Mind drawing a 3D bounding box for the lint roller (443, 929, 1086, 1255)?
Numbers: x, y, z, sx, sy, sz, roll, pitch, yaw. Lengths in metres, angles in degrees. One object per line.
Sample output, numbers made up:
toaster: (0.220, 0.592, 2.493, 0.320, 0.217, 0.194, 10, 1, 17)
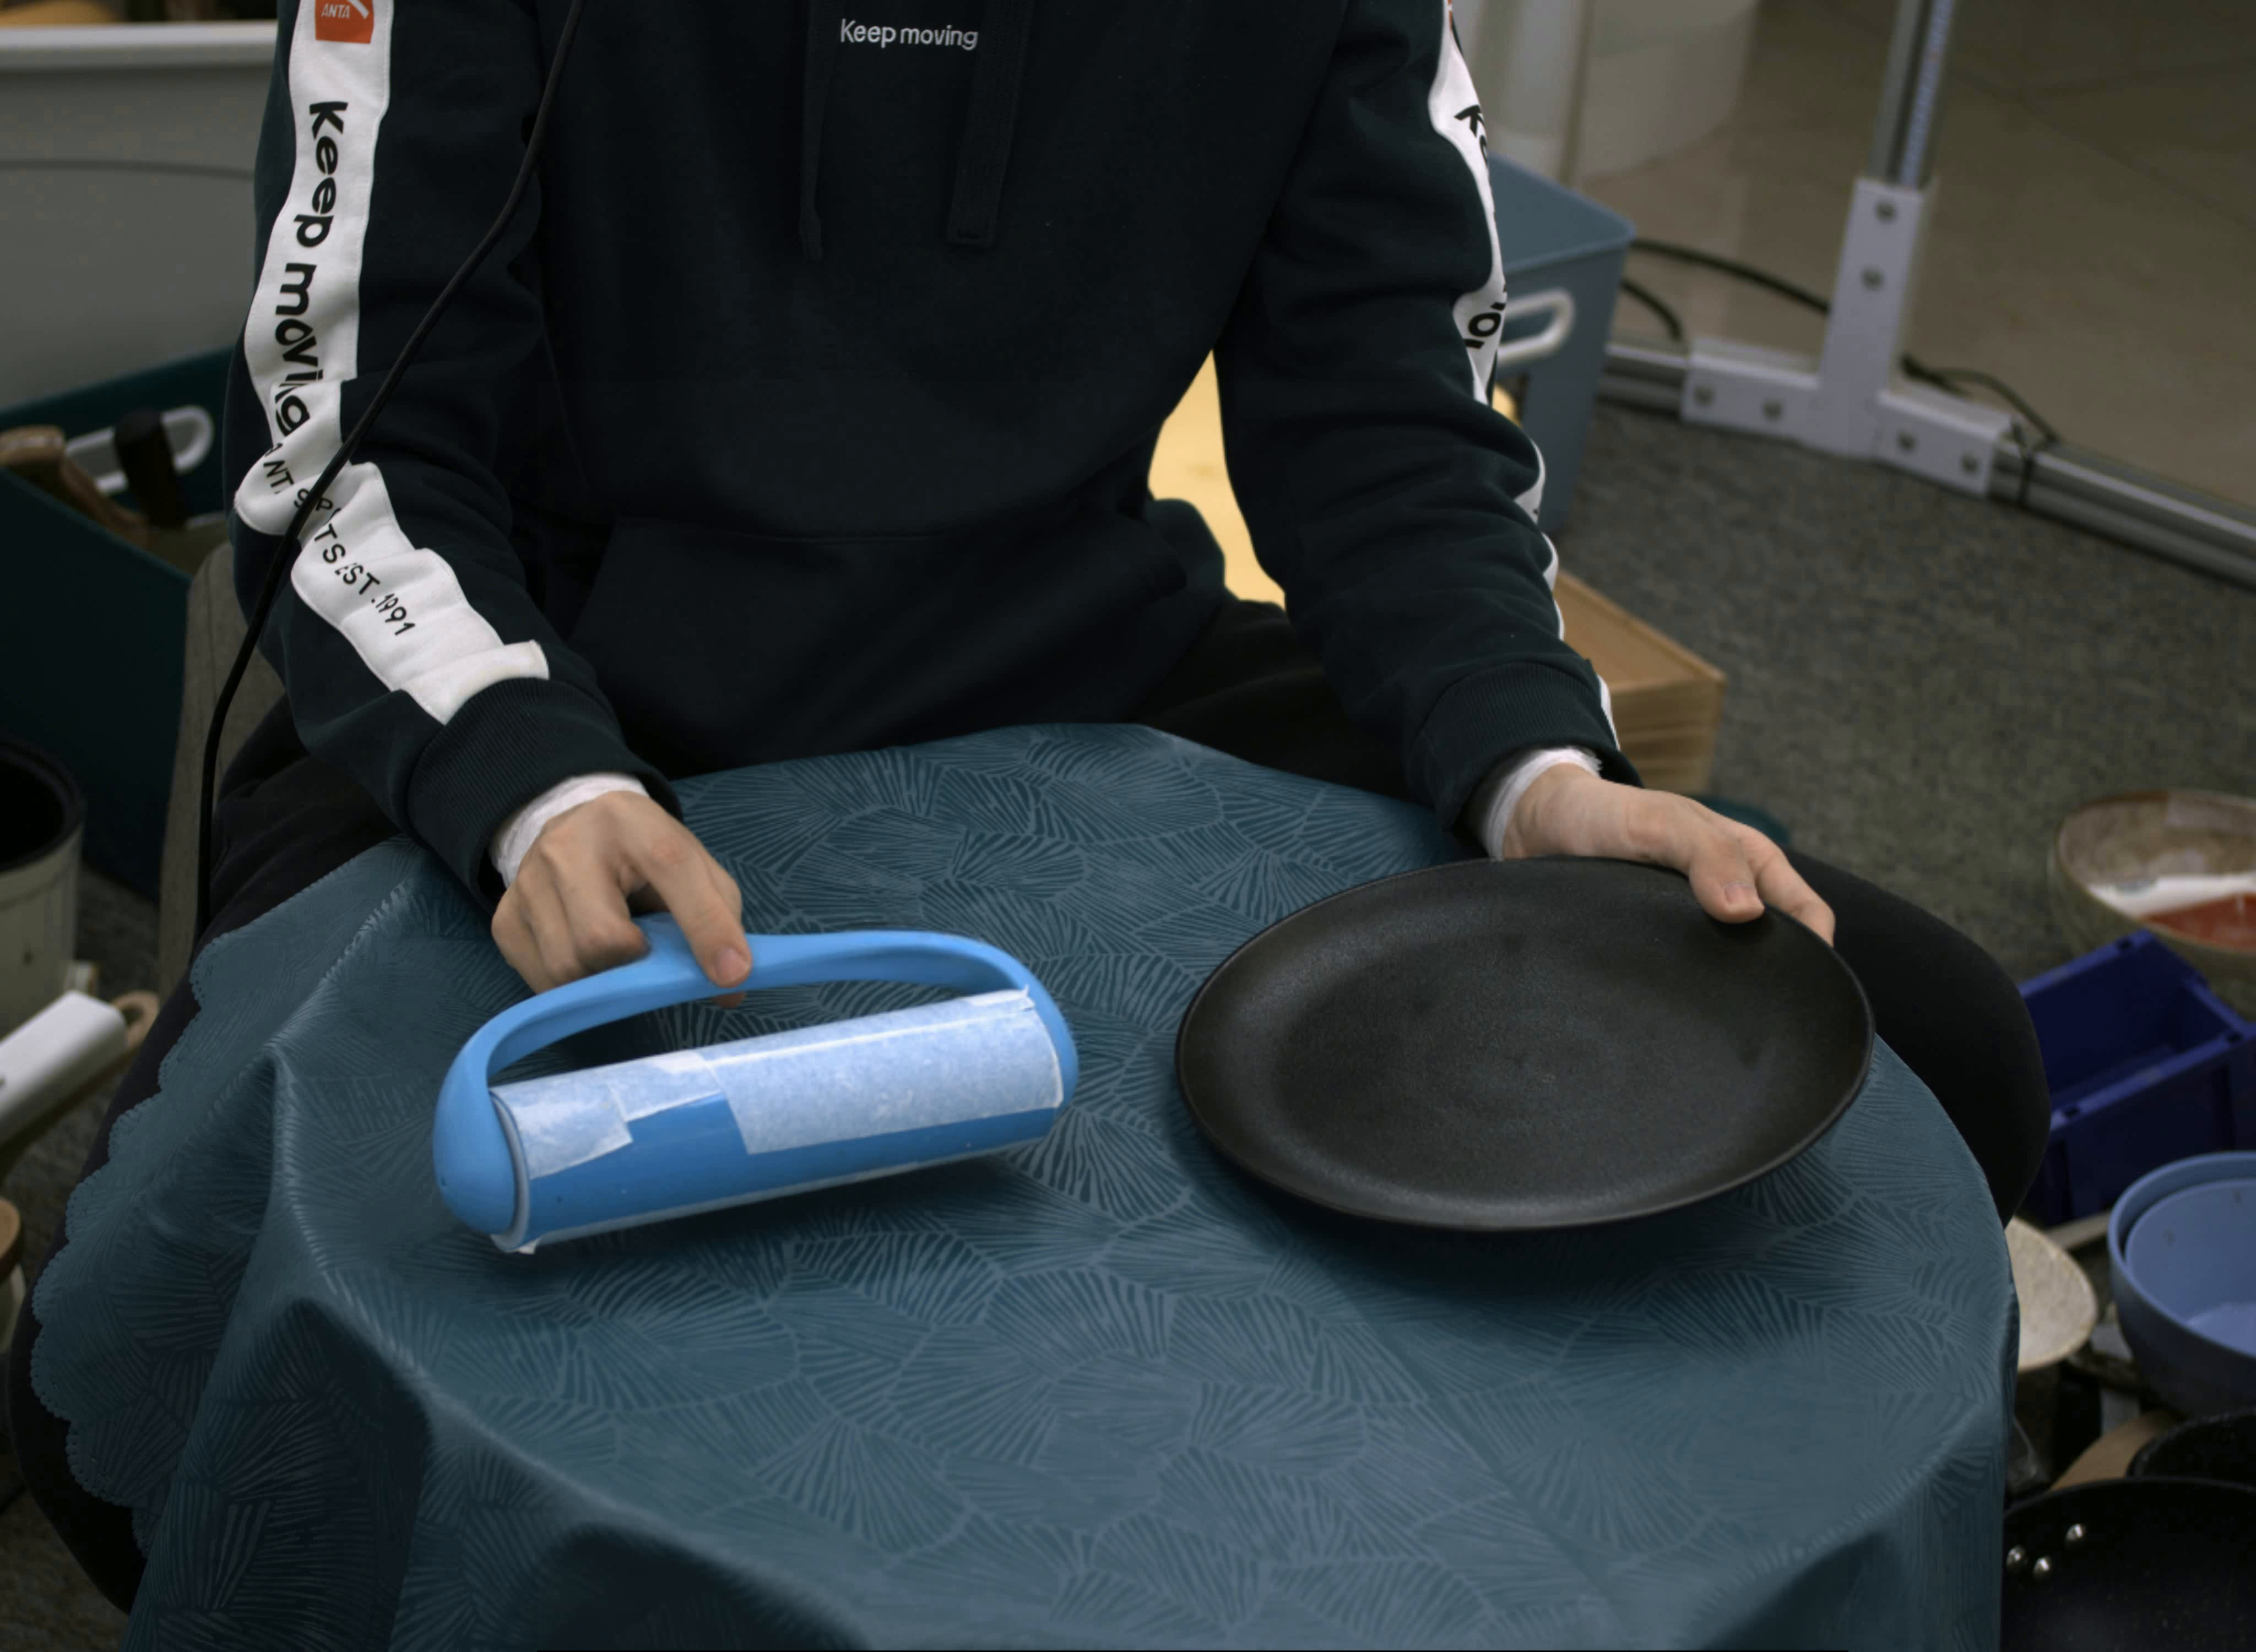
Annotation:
lint roller: (-0.147, 0.069, 1.789, 0.227, 0.067, 0.182, -13, 33, -29)

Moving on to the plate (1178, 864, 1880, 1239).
plate: (0.139, 0.082, 1.849, 0.244, 0.023, 0.246, -5, 29, 2)
